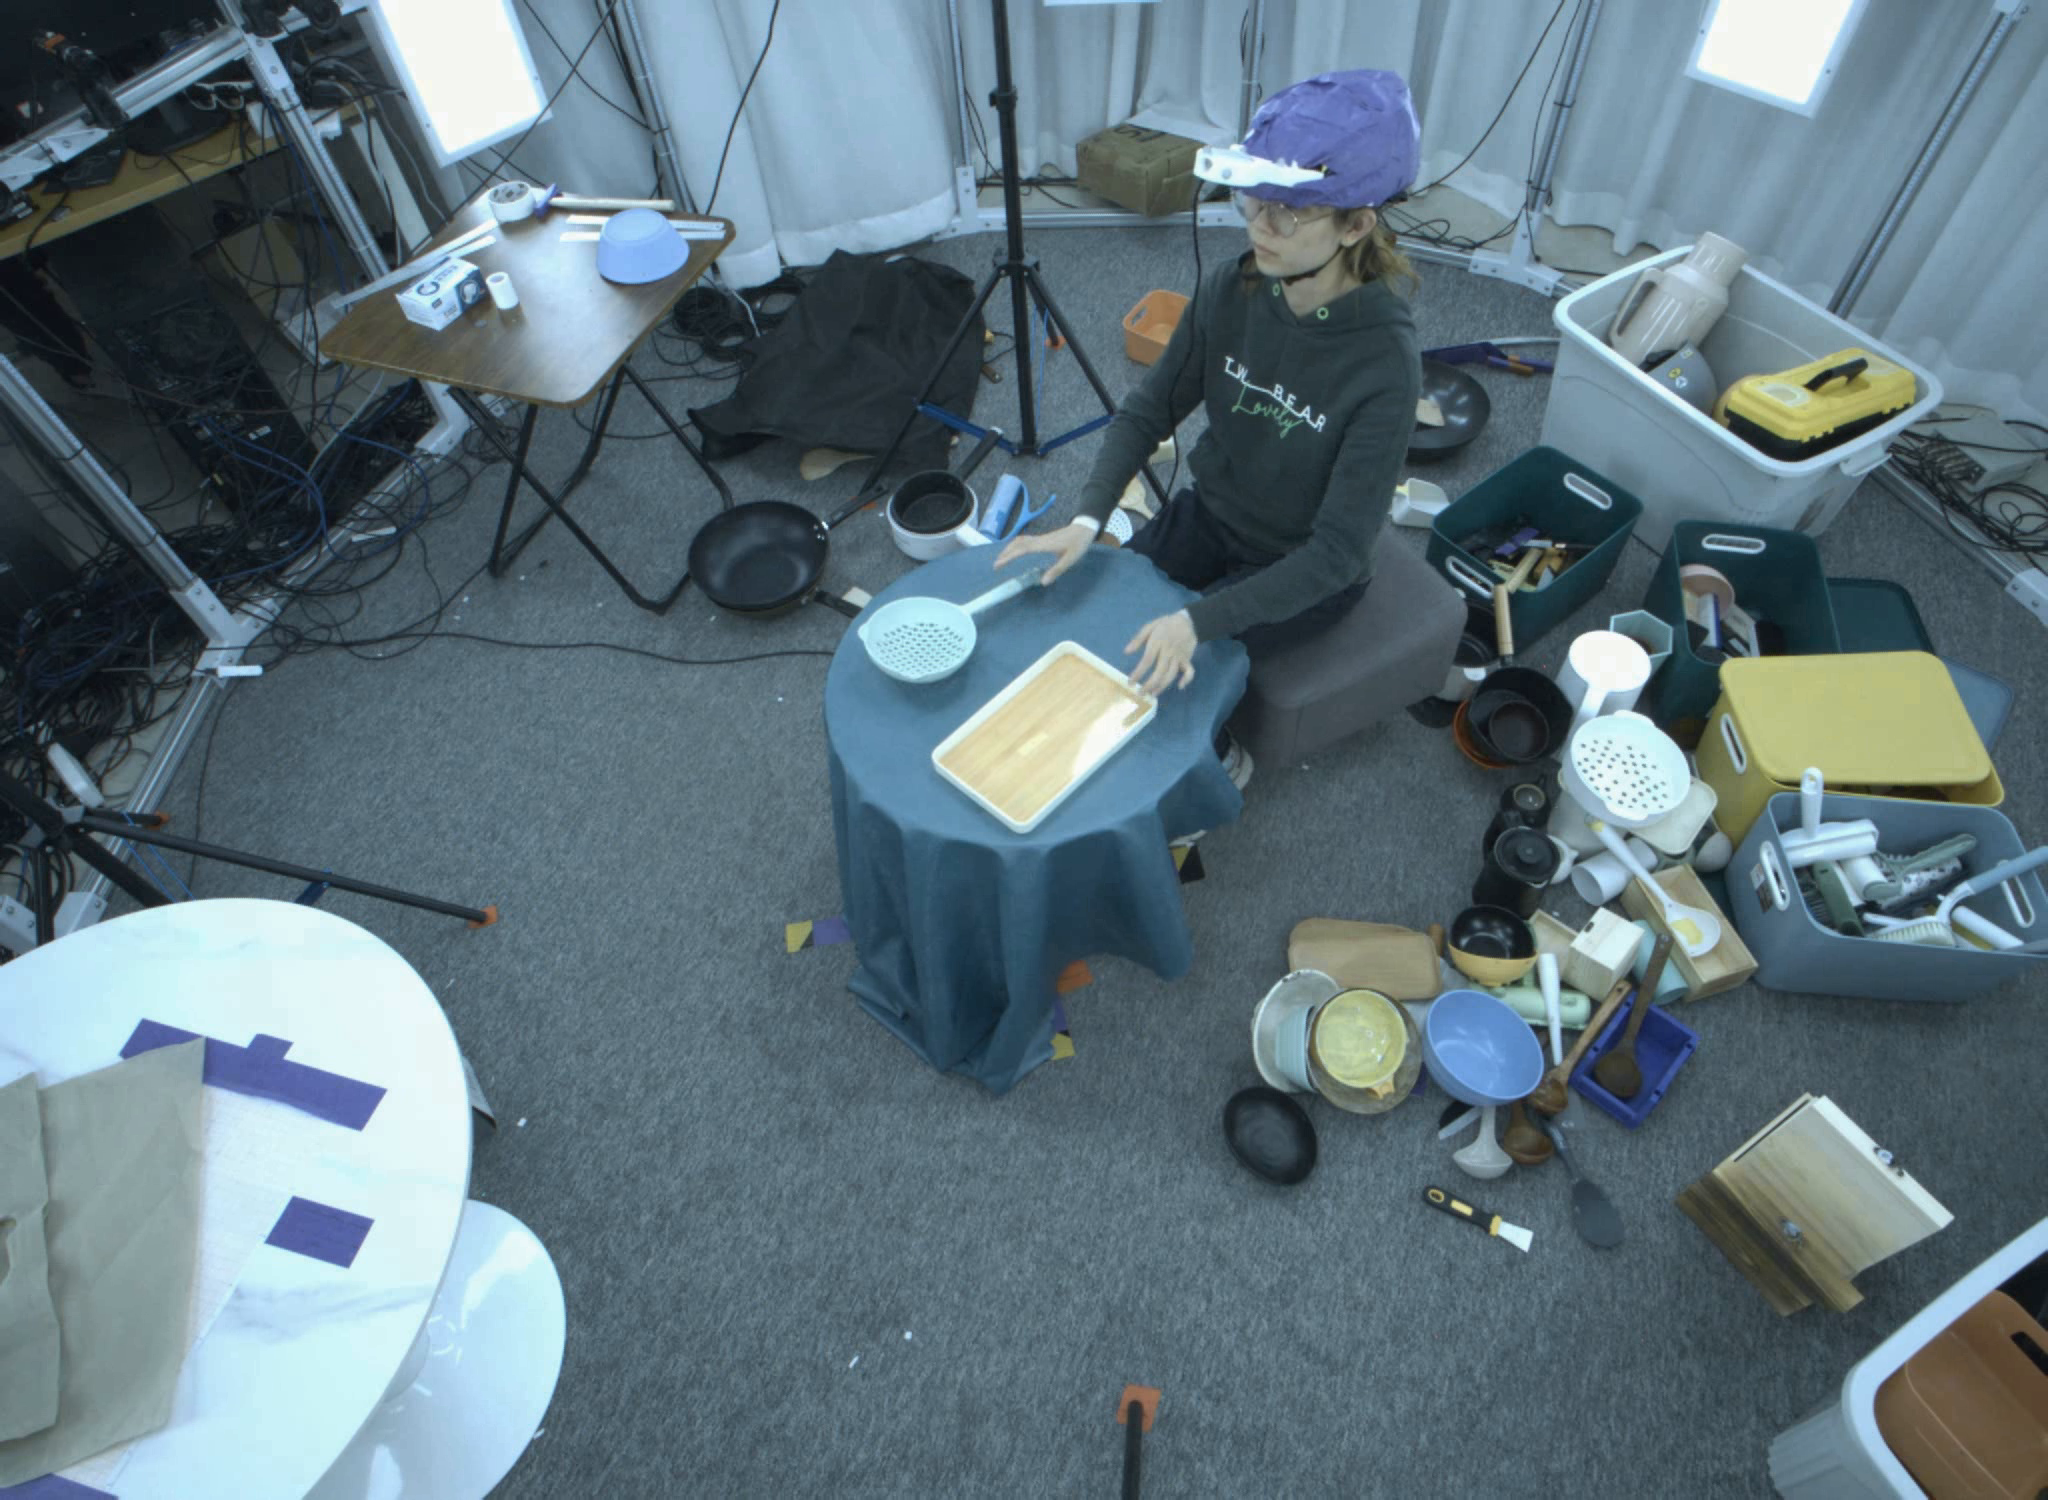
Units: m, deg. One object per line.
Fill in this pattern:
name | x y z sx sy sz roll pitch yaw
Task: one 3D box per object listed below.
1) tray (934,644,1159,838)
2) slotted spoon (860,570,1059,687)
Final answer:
tray | 0.035 -0.019 1.794 0.188 0.028 0.302 37 64 24
slotted spoon | -0.083 -0.207 1.907 0.361 0.076 0.166 -37 62 -22
